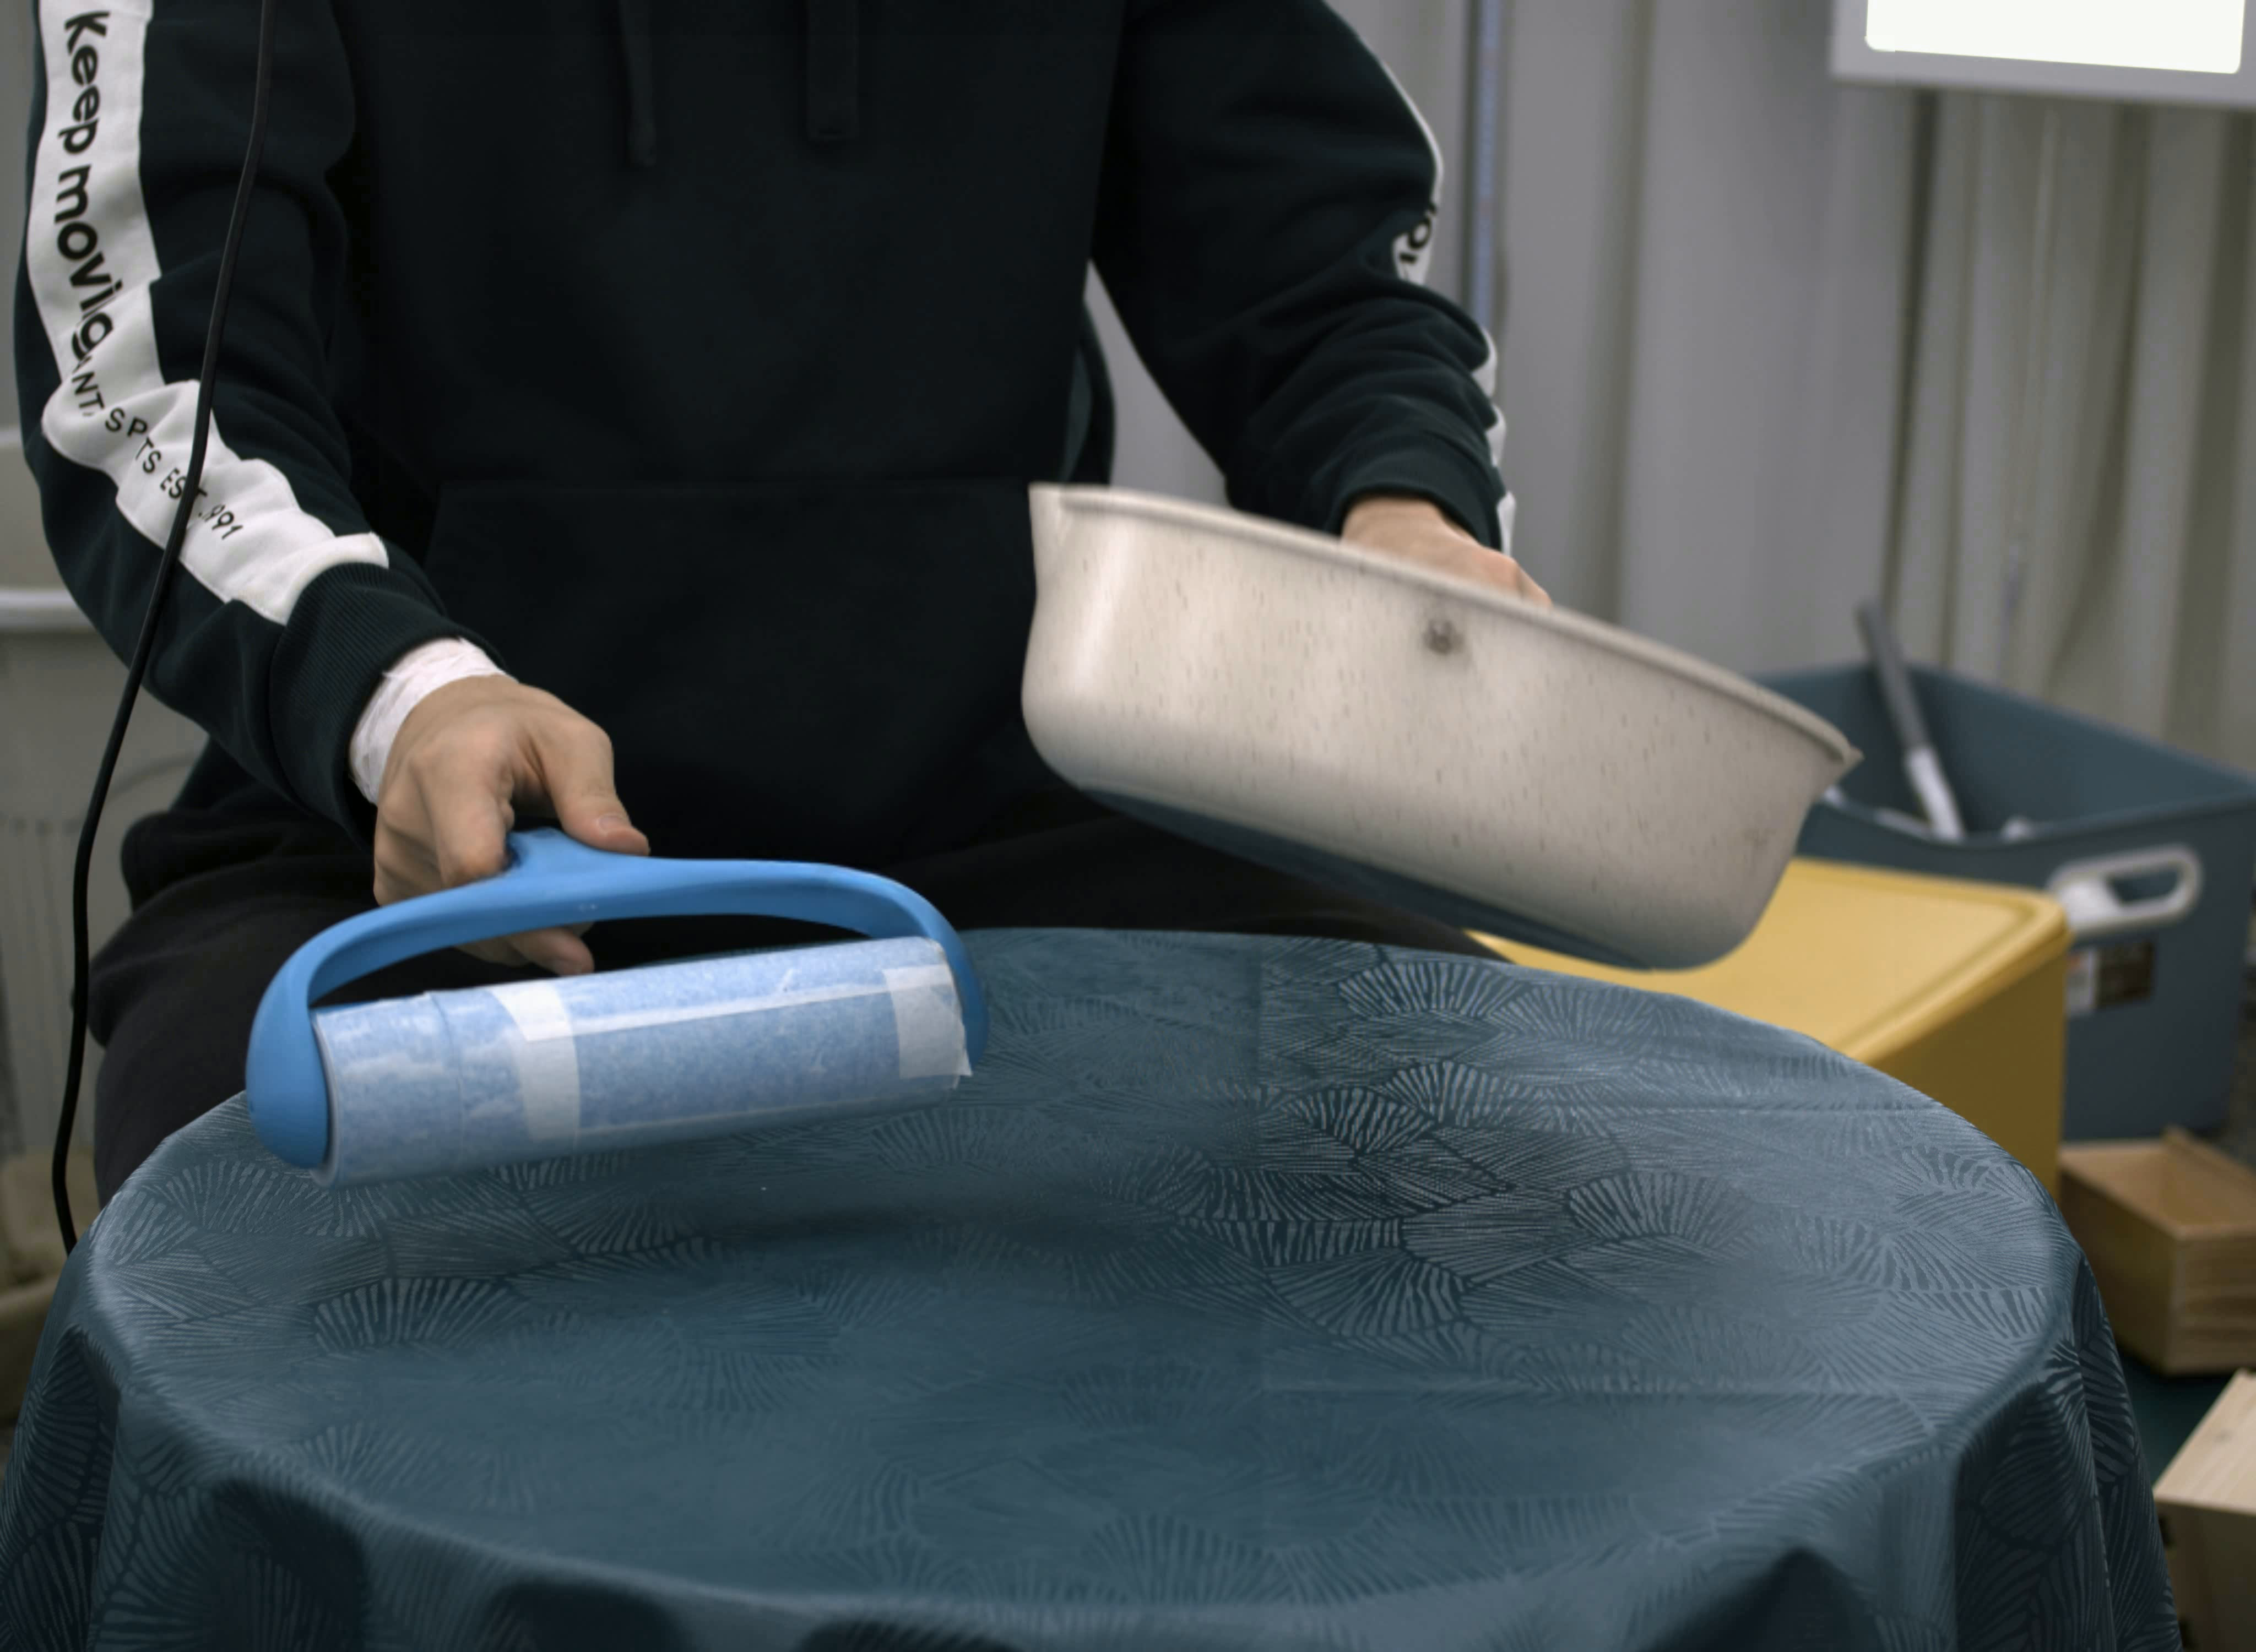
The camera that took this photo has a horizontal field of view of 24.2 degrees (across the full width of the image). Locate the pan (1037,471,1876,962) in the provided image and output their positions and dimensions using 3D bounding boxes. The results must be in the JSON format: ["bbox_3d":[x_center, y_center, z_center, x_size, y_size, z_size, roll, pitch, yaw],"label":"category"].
[{"bbox_3d":[0.088,-0.027,1.666,0.263,0.102,0.435,17,-4,0],"label":"pan"}]

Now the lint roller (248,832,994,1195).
[{"bbox_3d":[-0.172,0.038,1.592,0.230,0.068,0.178,-9,35,-25],"label":"lint roller"}]
